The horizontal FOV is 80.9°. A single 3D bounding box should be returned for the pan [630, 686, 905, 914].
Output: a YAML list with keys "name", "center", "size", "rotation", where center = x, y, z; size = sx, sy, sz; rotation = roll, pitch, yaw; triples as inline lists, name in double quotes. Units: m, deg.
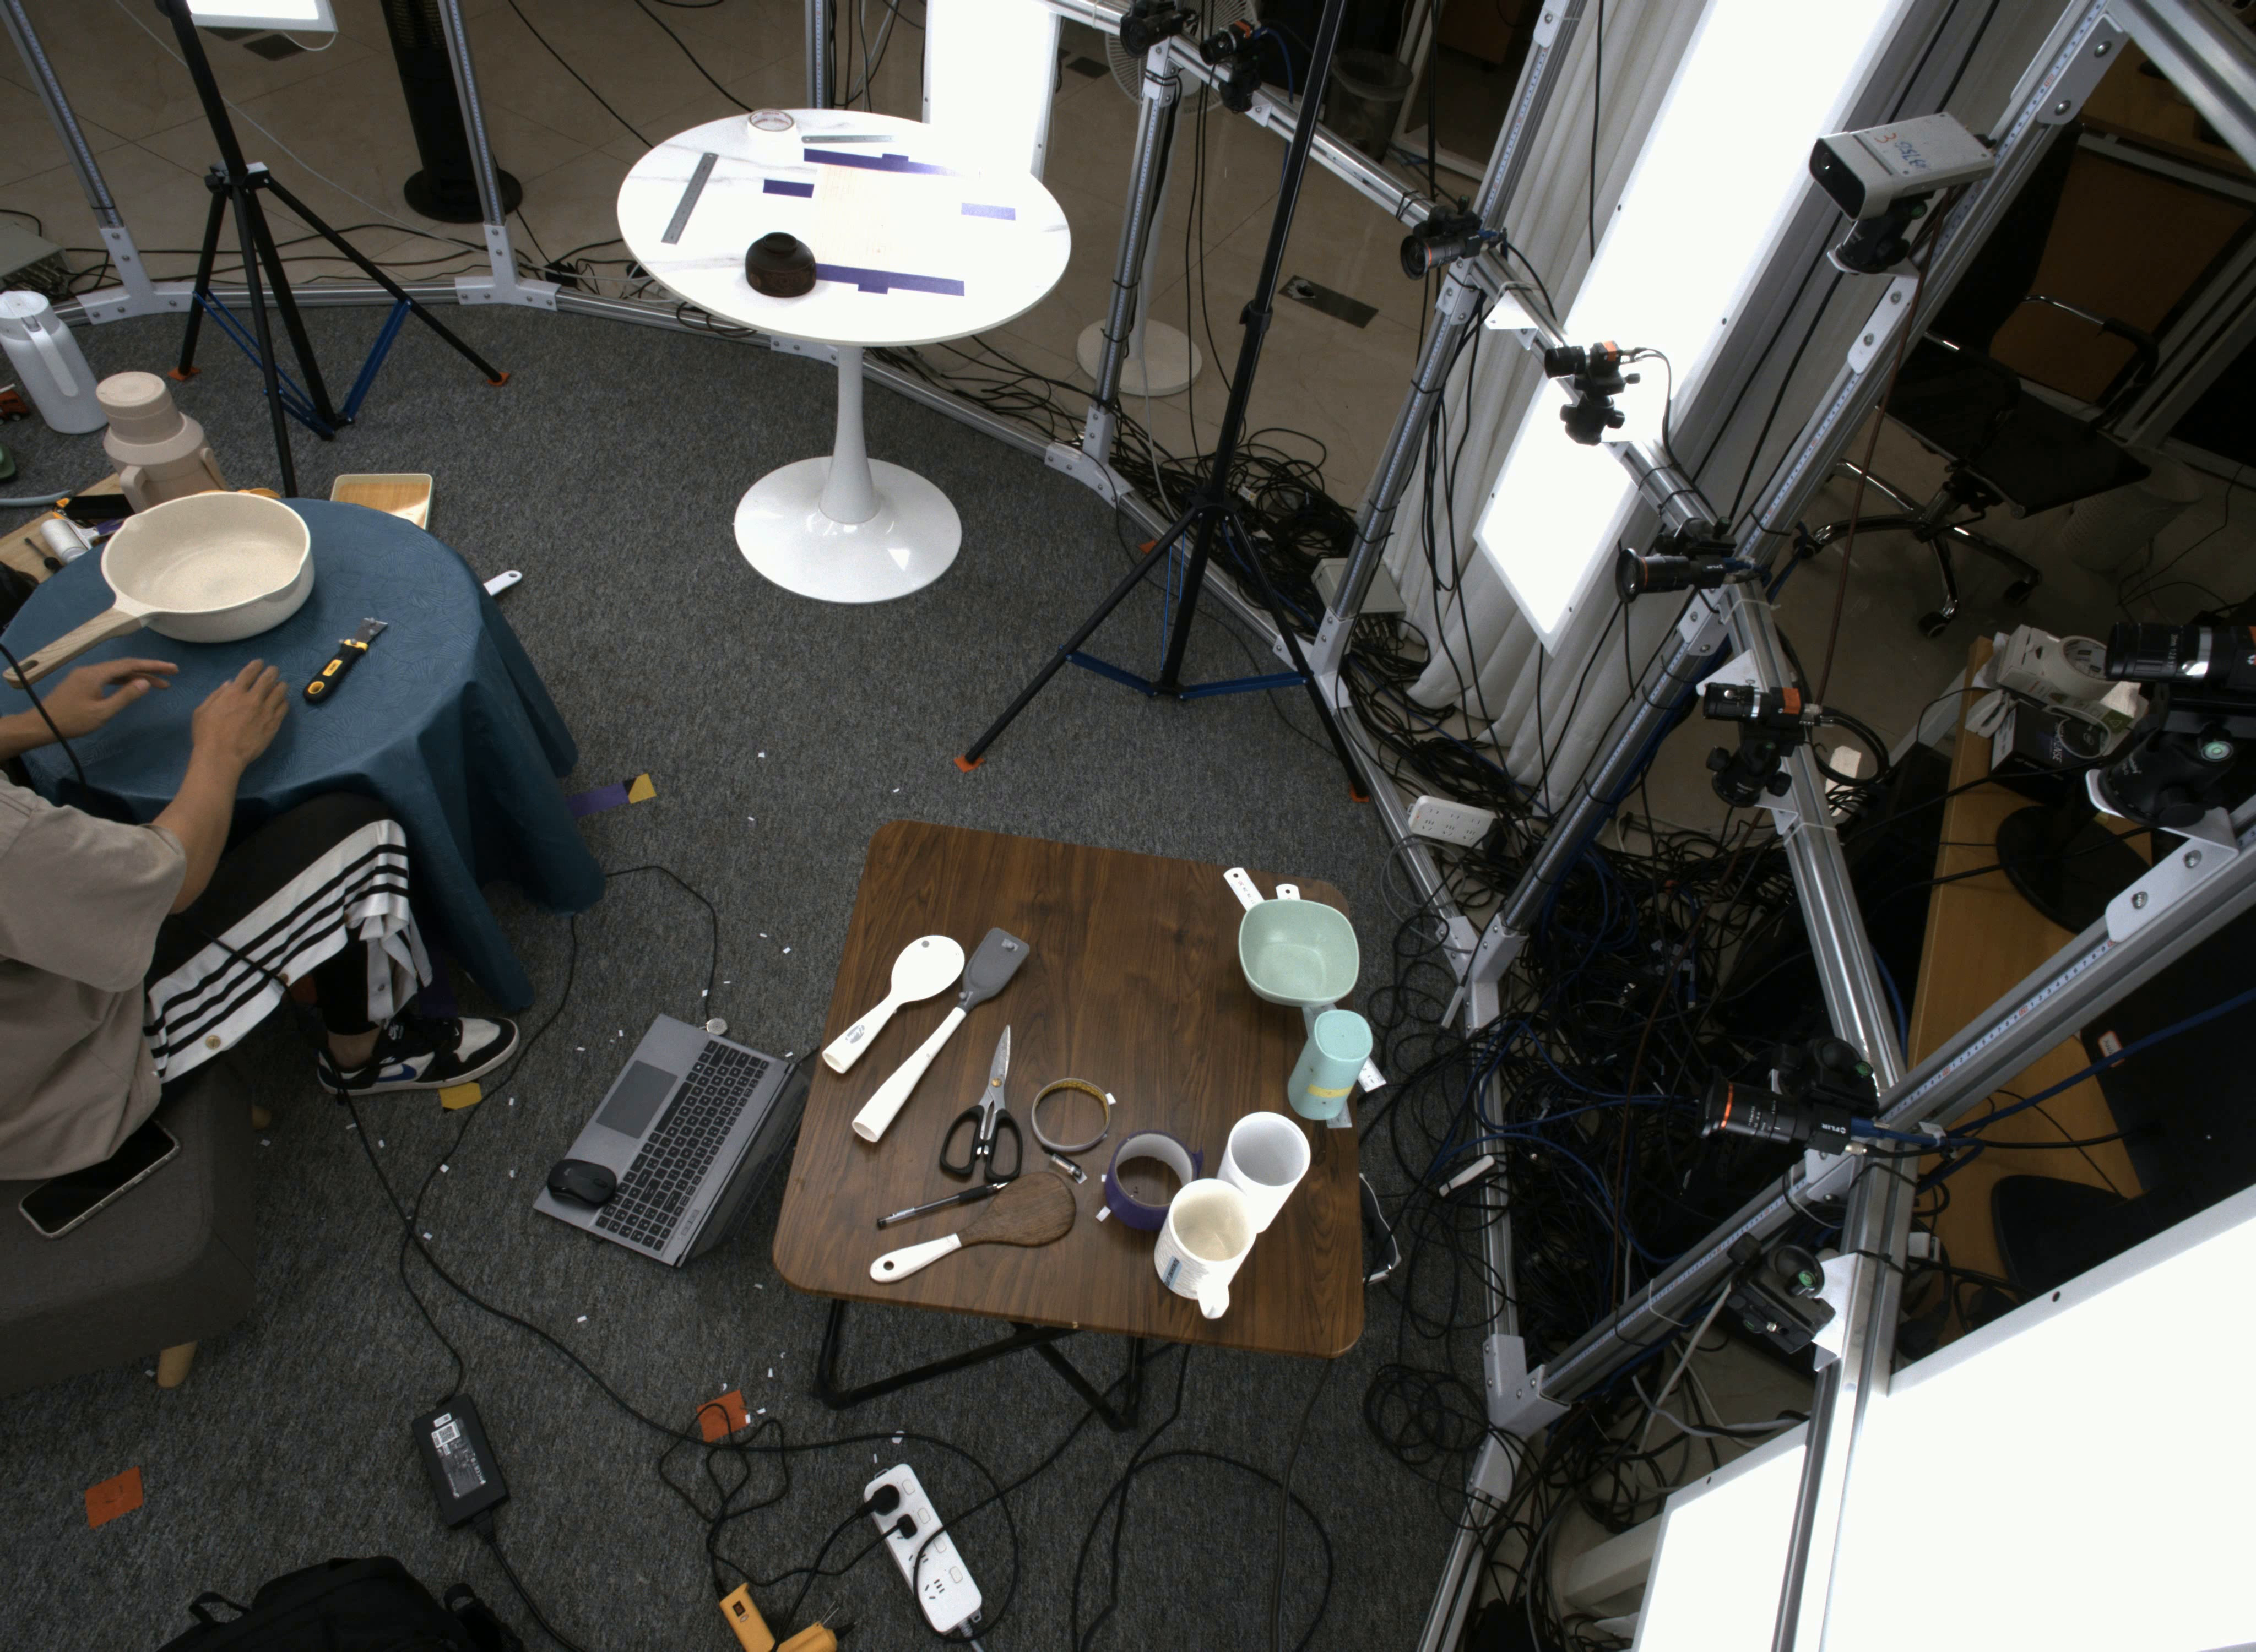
- name: "pan"
  center: [-0.475, -0.014, 1.673]
  size: [0.259, 0.104, 0.434]
  rotation: [35, 54, 10]

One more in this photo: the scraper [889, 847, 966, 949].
- name: "scraper"
  center: [-0.262, 0.093, 1.694]
  size: [0.038, 0.015, 0.169]
  rotation: [28, 50, 0]
